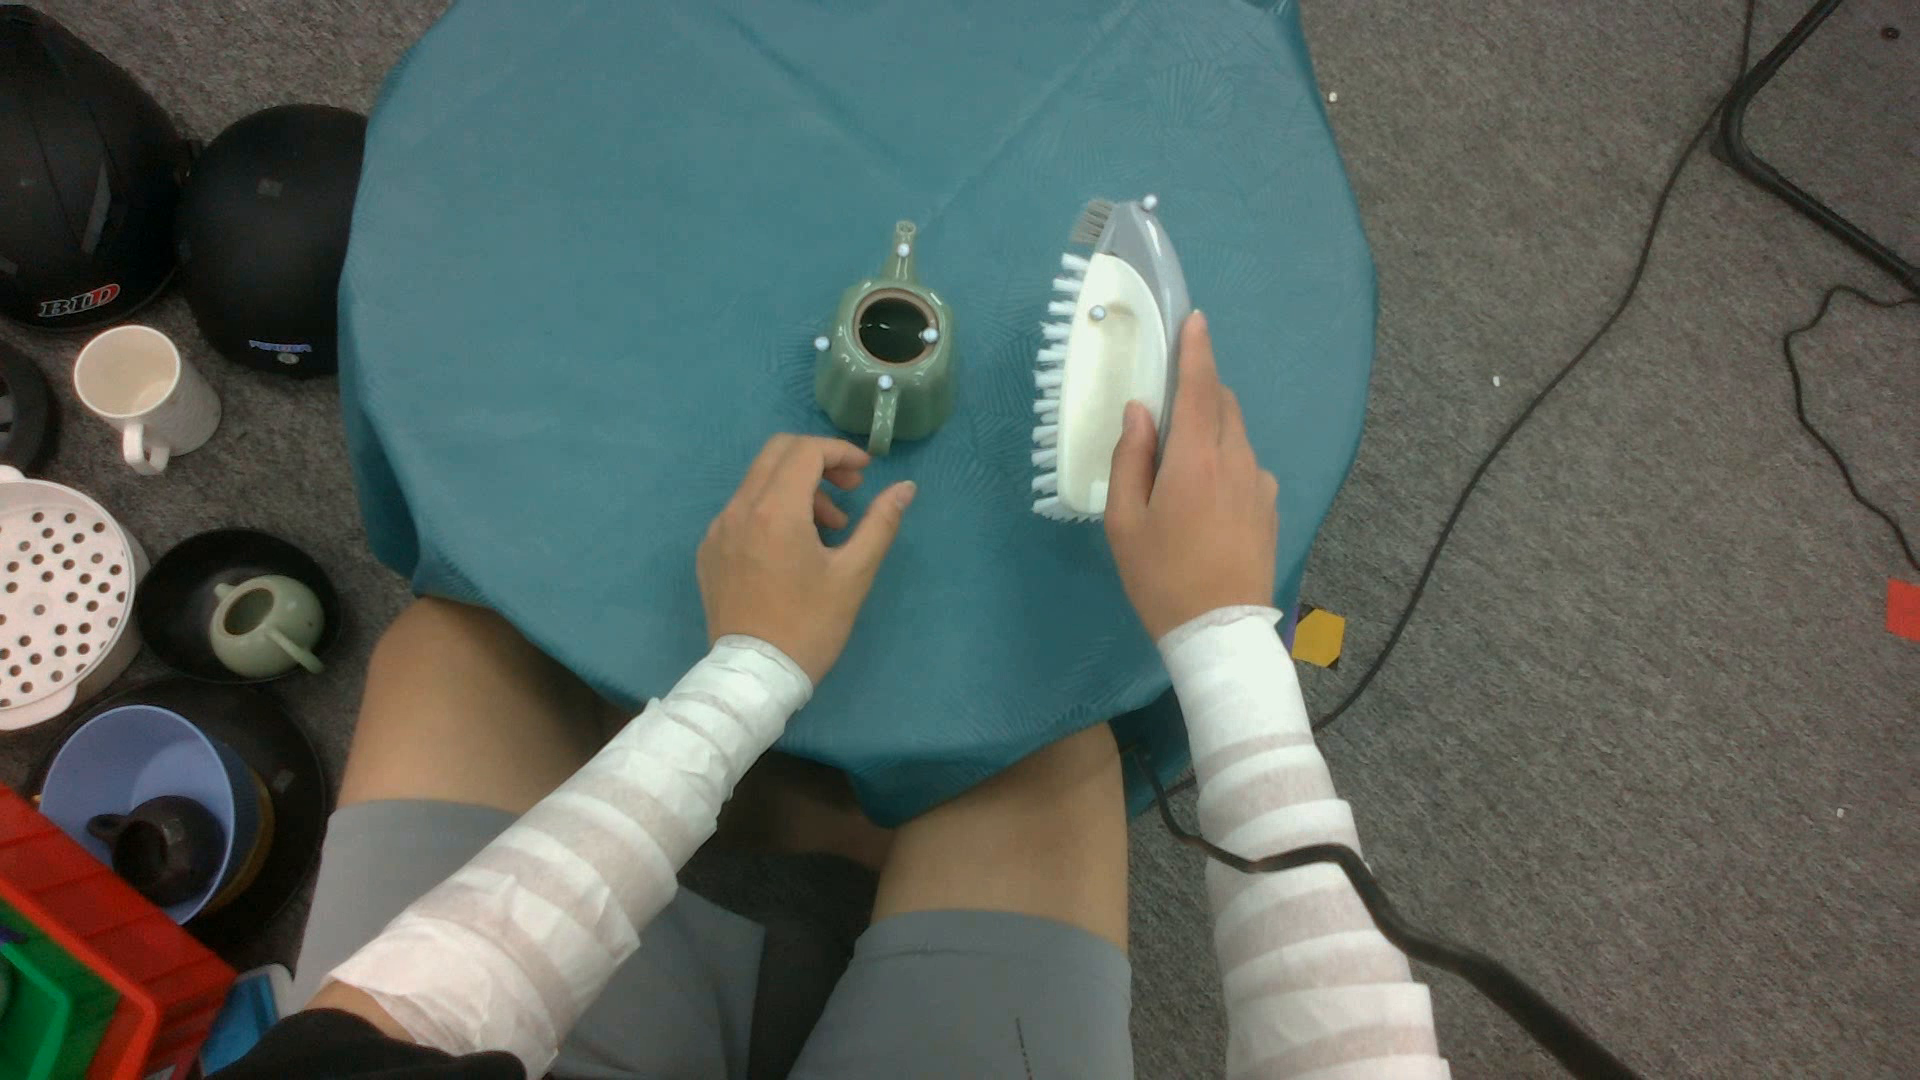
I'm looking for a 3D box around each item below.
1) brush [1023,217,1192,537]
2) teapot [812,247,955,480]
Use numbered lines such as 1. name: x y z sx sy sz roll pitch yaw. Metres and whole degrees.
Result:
1. brush: 0.080 -0.090 0.724 0.061 0.094 0.175 3 86 -37
2. teapot: -0.041 -0.089 0.765 0.080 0.075 0.133 6 72 -4
